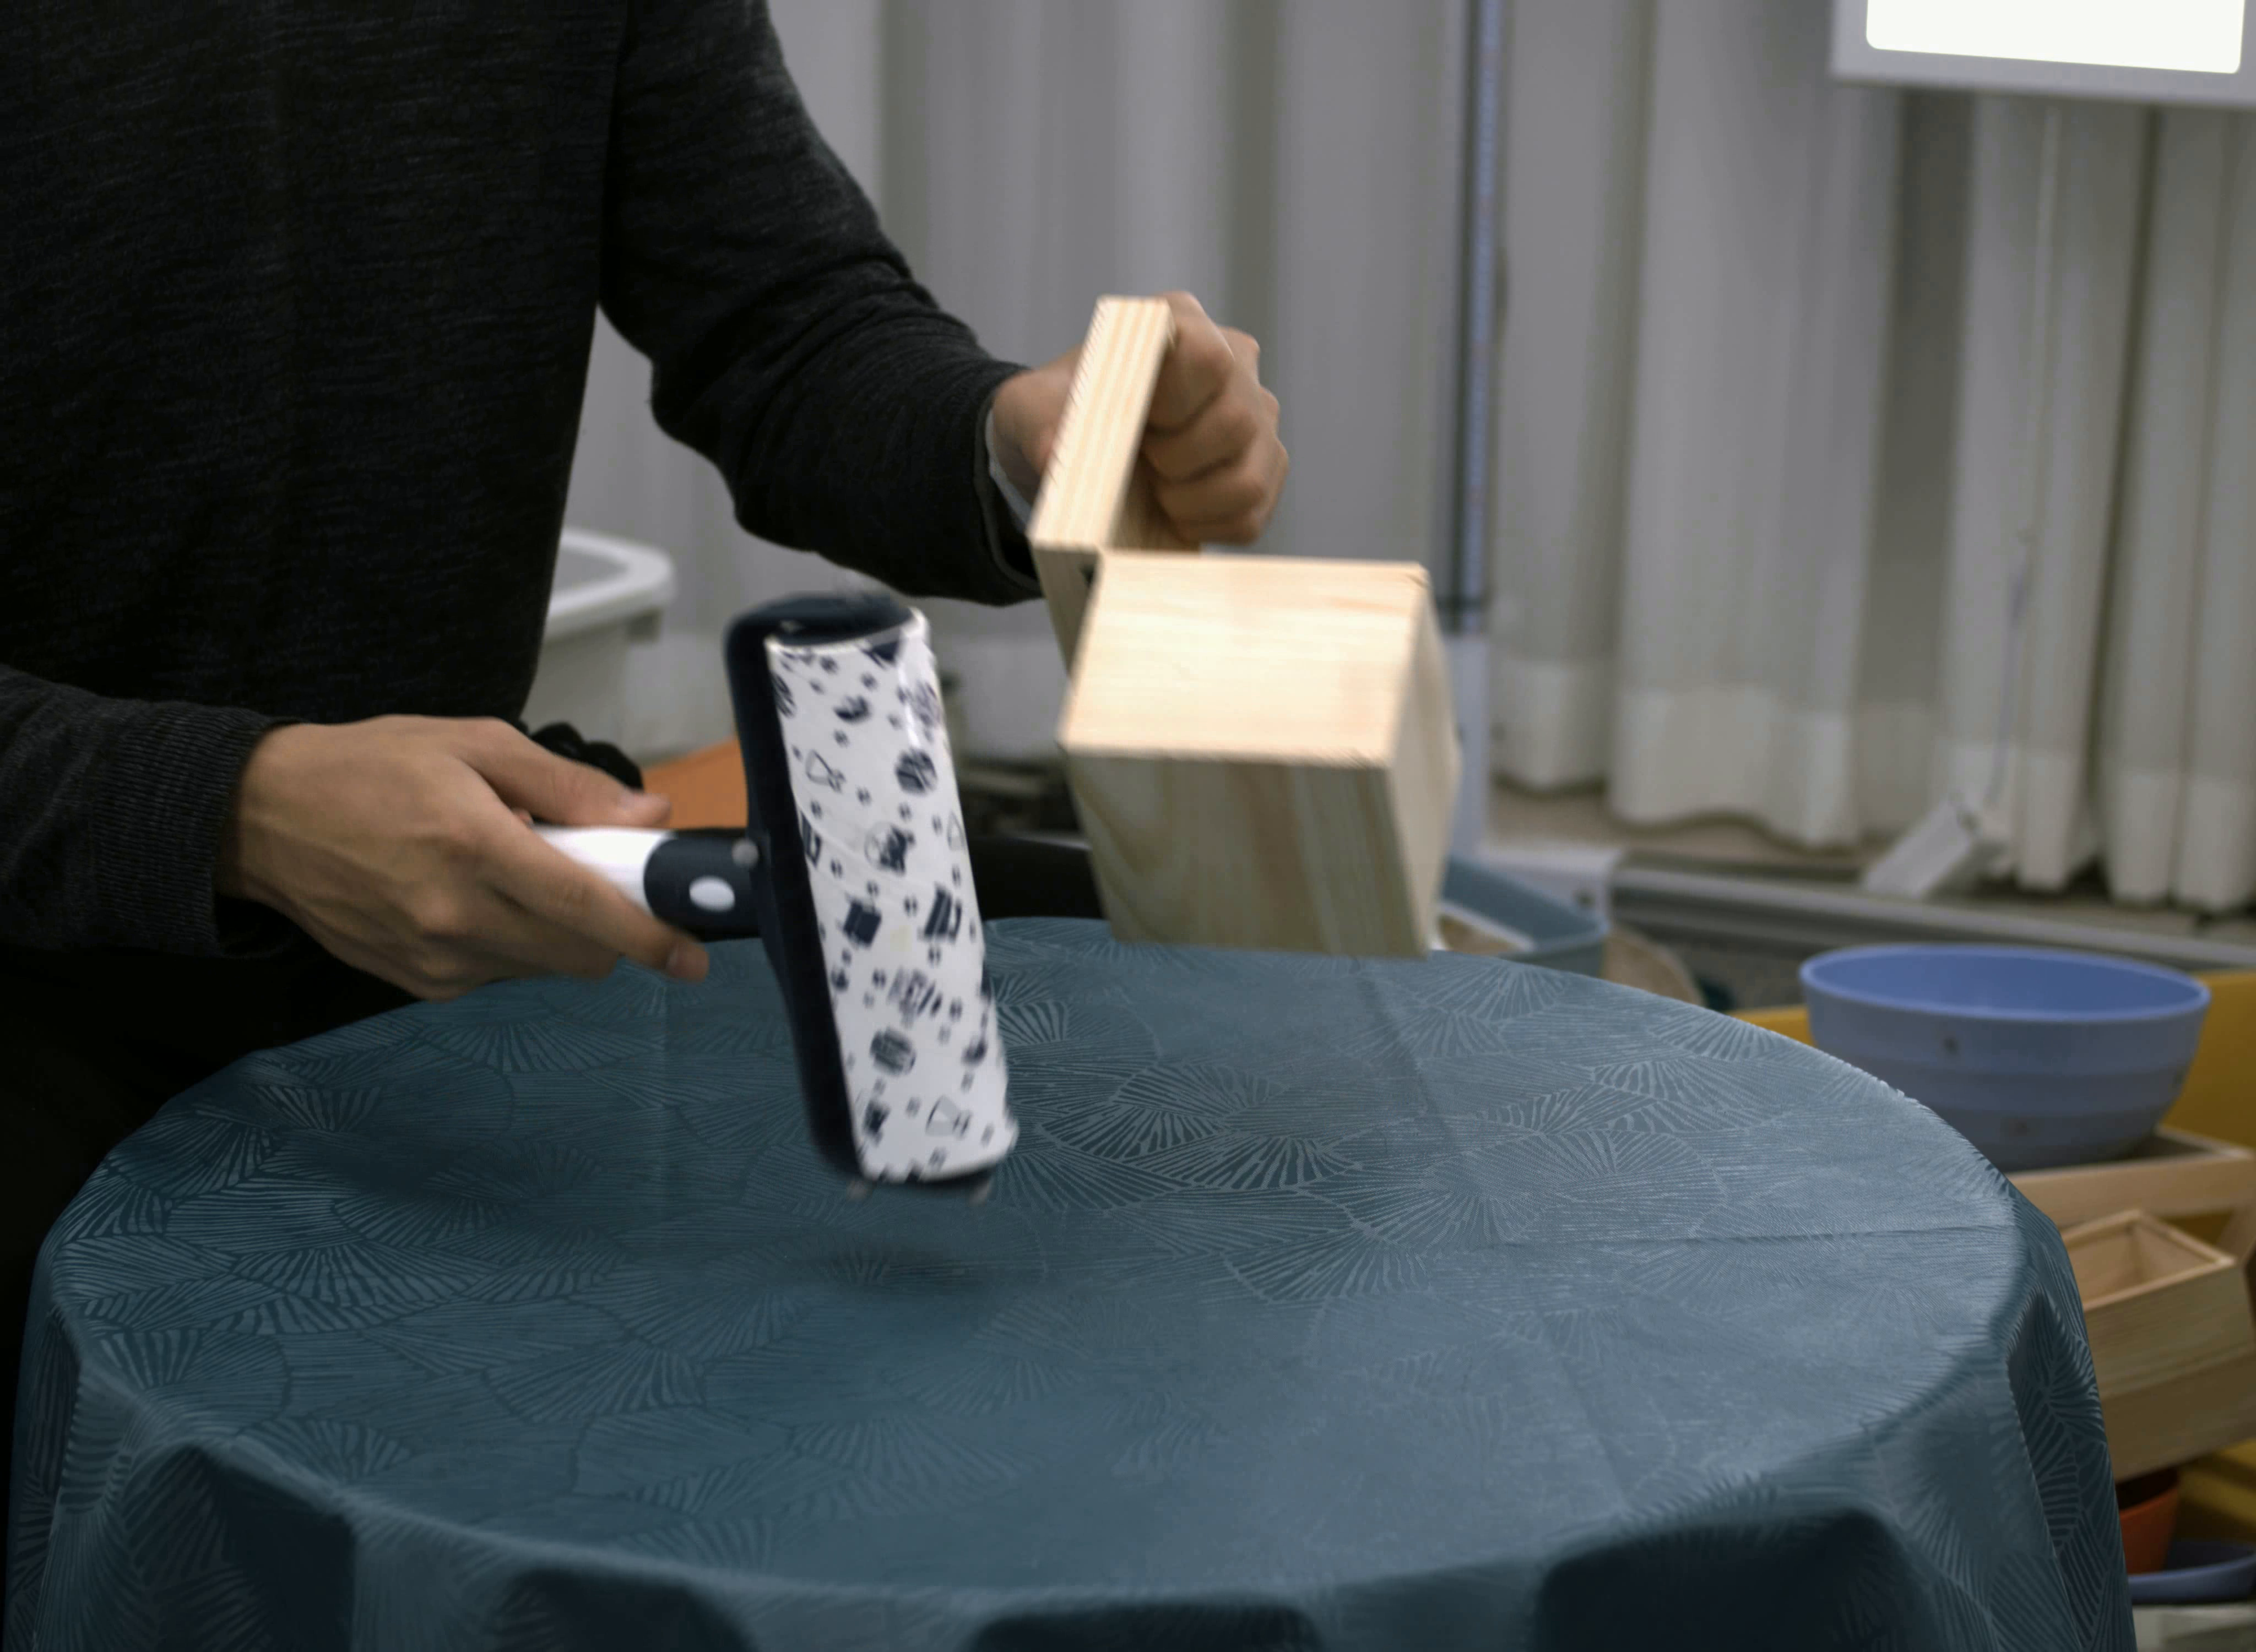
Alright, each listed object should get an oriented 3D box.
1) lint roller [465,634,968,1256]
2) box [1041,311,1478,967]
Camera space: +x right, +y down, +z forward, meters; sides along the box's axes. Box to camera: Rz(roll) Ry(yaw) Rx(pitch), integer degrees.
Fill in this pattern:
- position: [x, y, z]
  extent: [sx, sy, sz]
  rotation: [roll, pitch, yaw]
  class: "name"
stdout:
- position: [-0.134, 0.018, 1.587]
  extent: [0.050, 0.177, 0.244]
  rotation: [-11, 17, -40]
  class: "lint roller"
- position: [0.046, -0.061, 1.653]
  extent: [0.133, 0.104, 0.183]
  rotation: [3, 55, 12]
  class: "box"
